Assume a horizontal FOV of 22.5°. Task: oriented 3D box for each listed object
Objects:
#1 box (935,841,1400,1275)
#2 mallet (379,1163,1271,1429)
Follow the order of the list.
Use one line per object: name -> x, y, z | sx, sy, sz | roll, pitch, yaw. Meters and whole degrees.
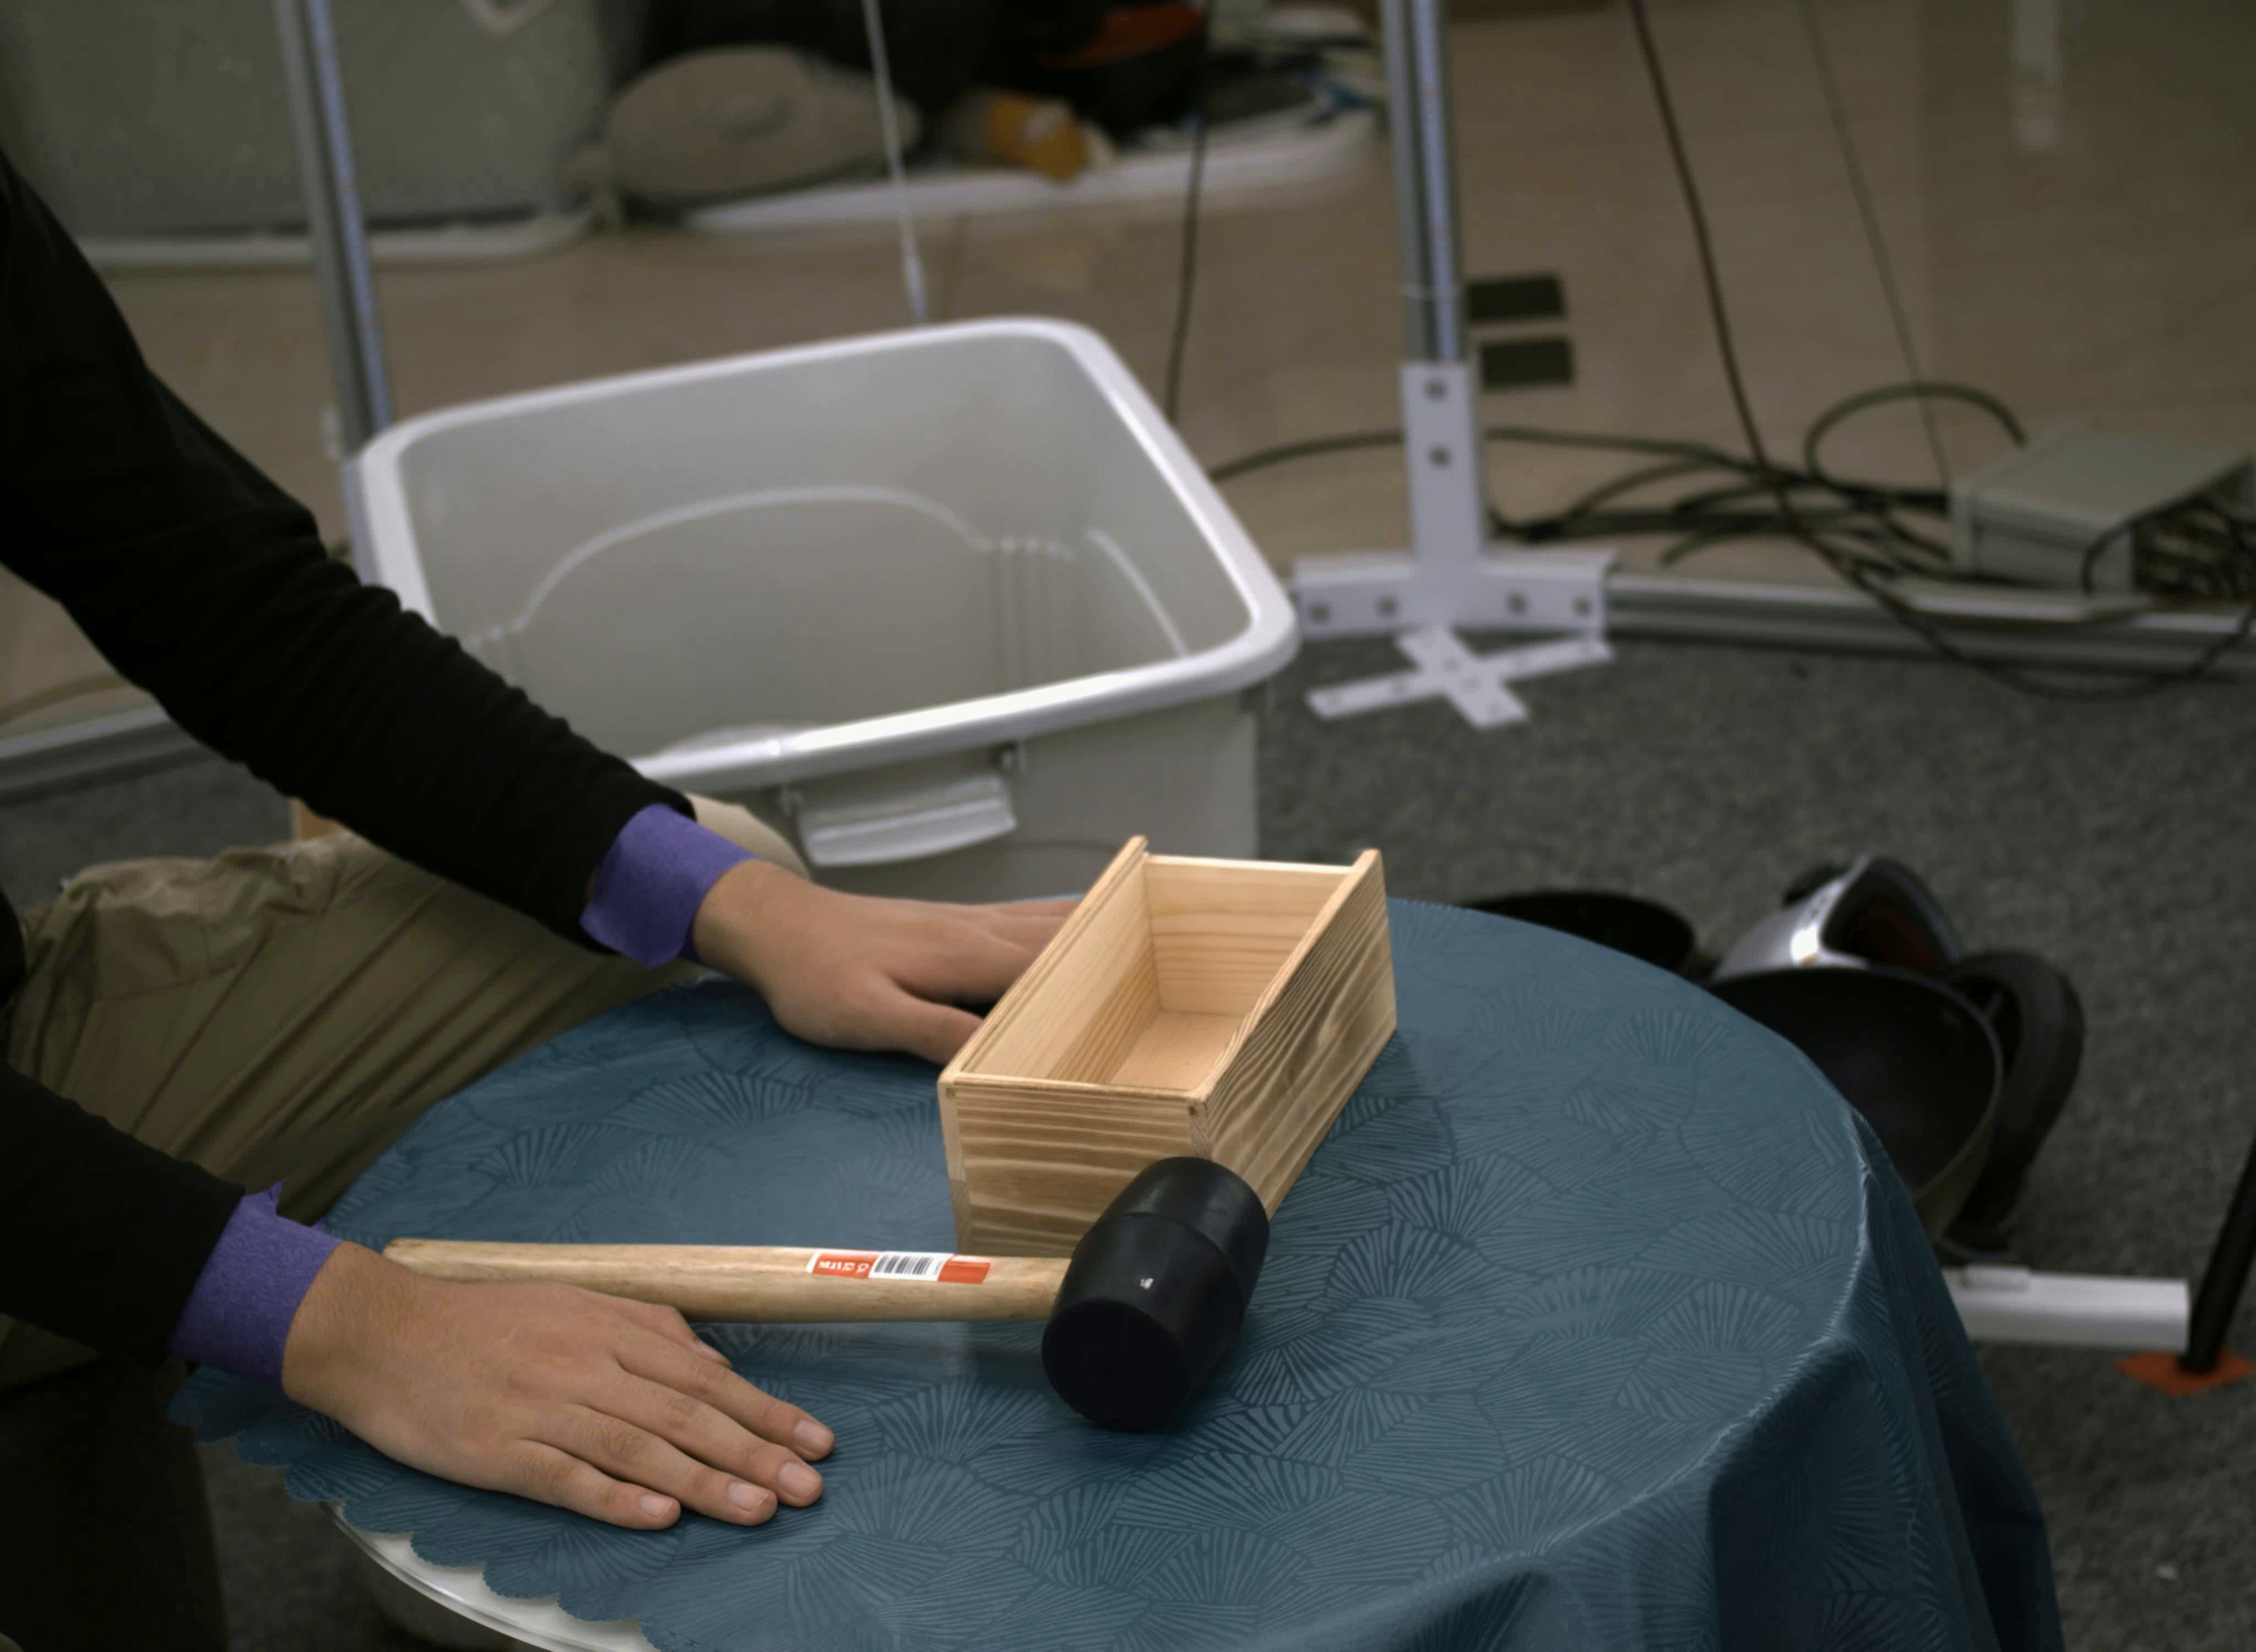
box -> 0.018, 0.087, 2.161 | 0.107, 0.081, 0.208 | 3, 27, 21
mallet -> -0.119, 0.161, 2.061 | 0.338, 0.065, 0.100 | 3, 26, 21
